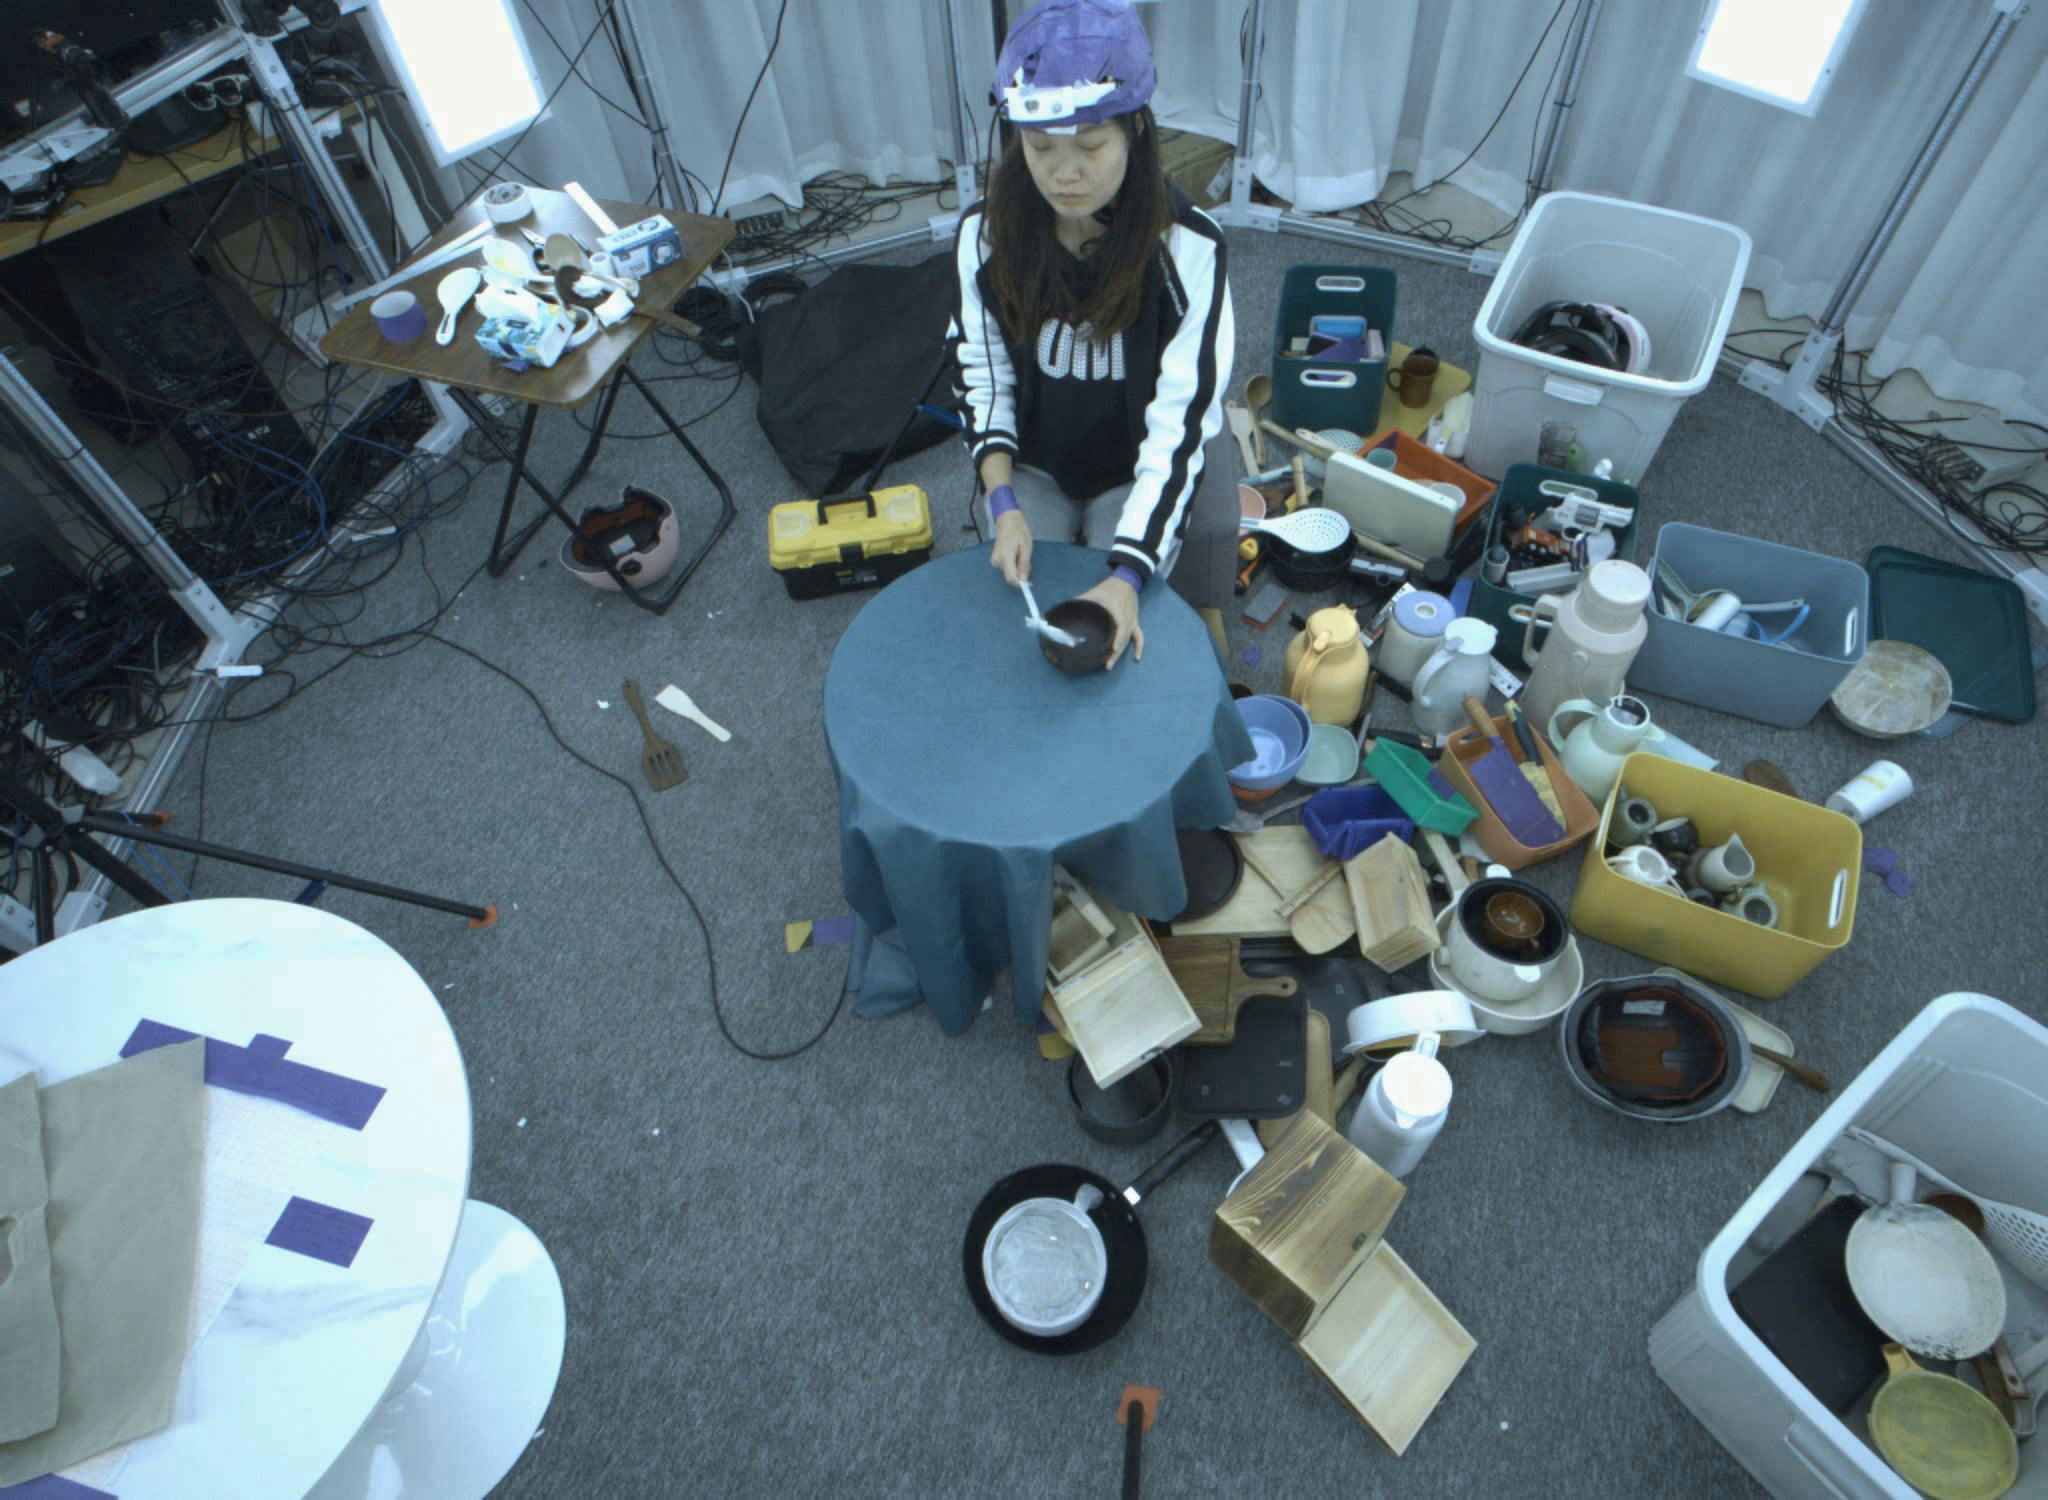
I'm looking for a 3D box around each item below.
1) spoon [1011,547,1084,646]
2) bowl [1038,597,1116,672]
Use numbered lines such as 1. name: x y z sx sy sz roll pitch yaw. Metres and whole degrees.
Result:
1. spoon: 0.028 -0.243 1.858 0.103 0.059 0.273 24 34 -33
2. bowl: 0.080 -0.166 1.858 0.118 0.070 0.117 -1 55 2
